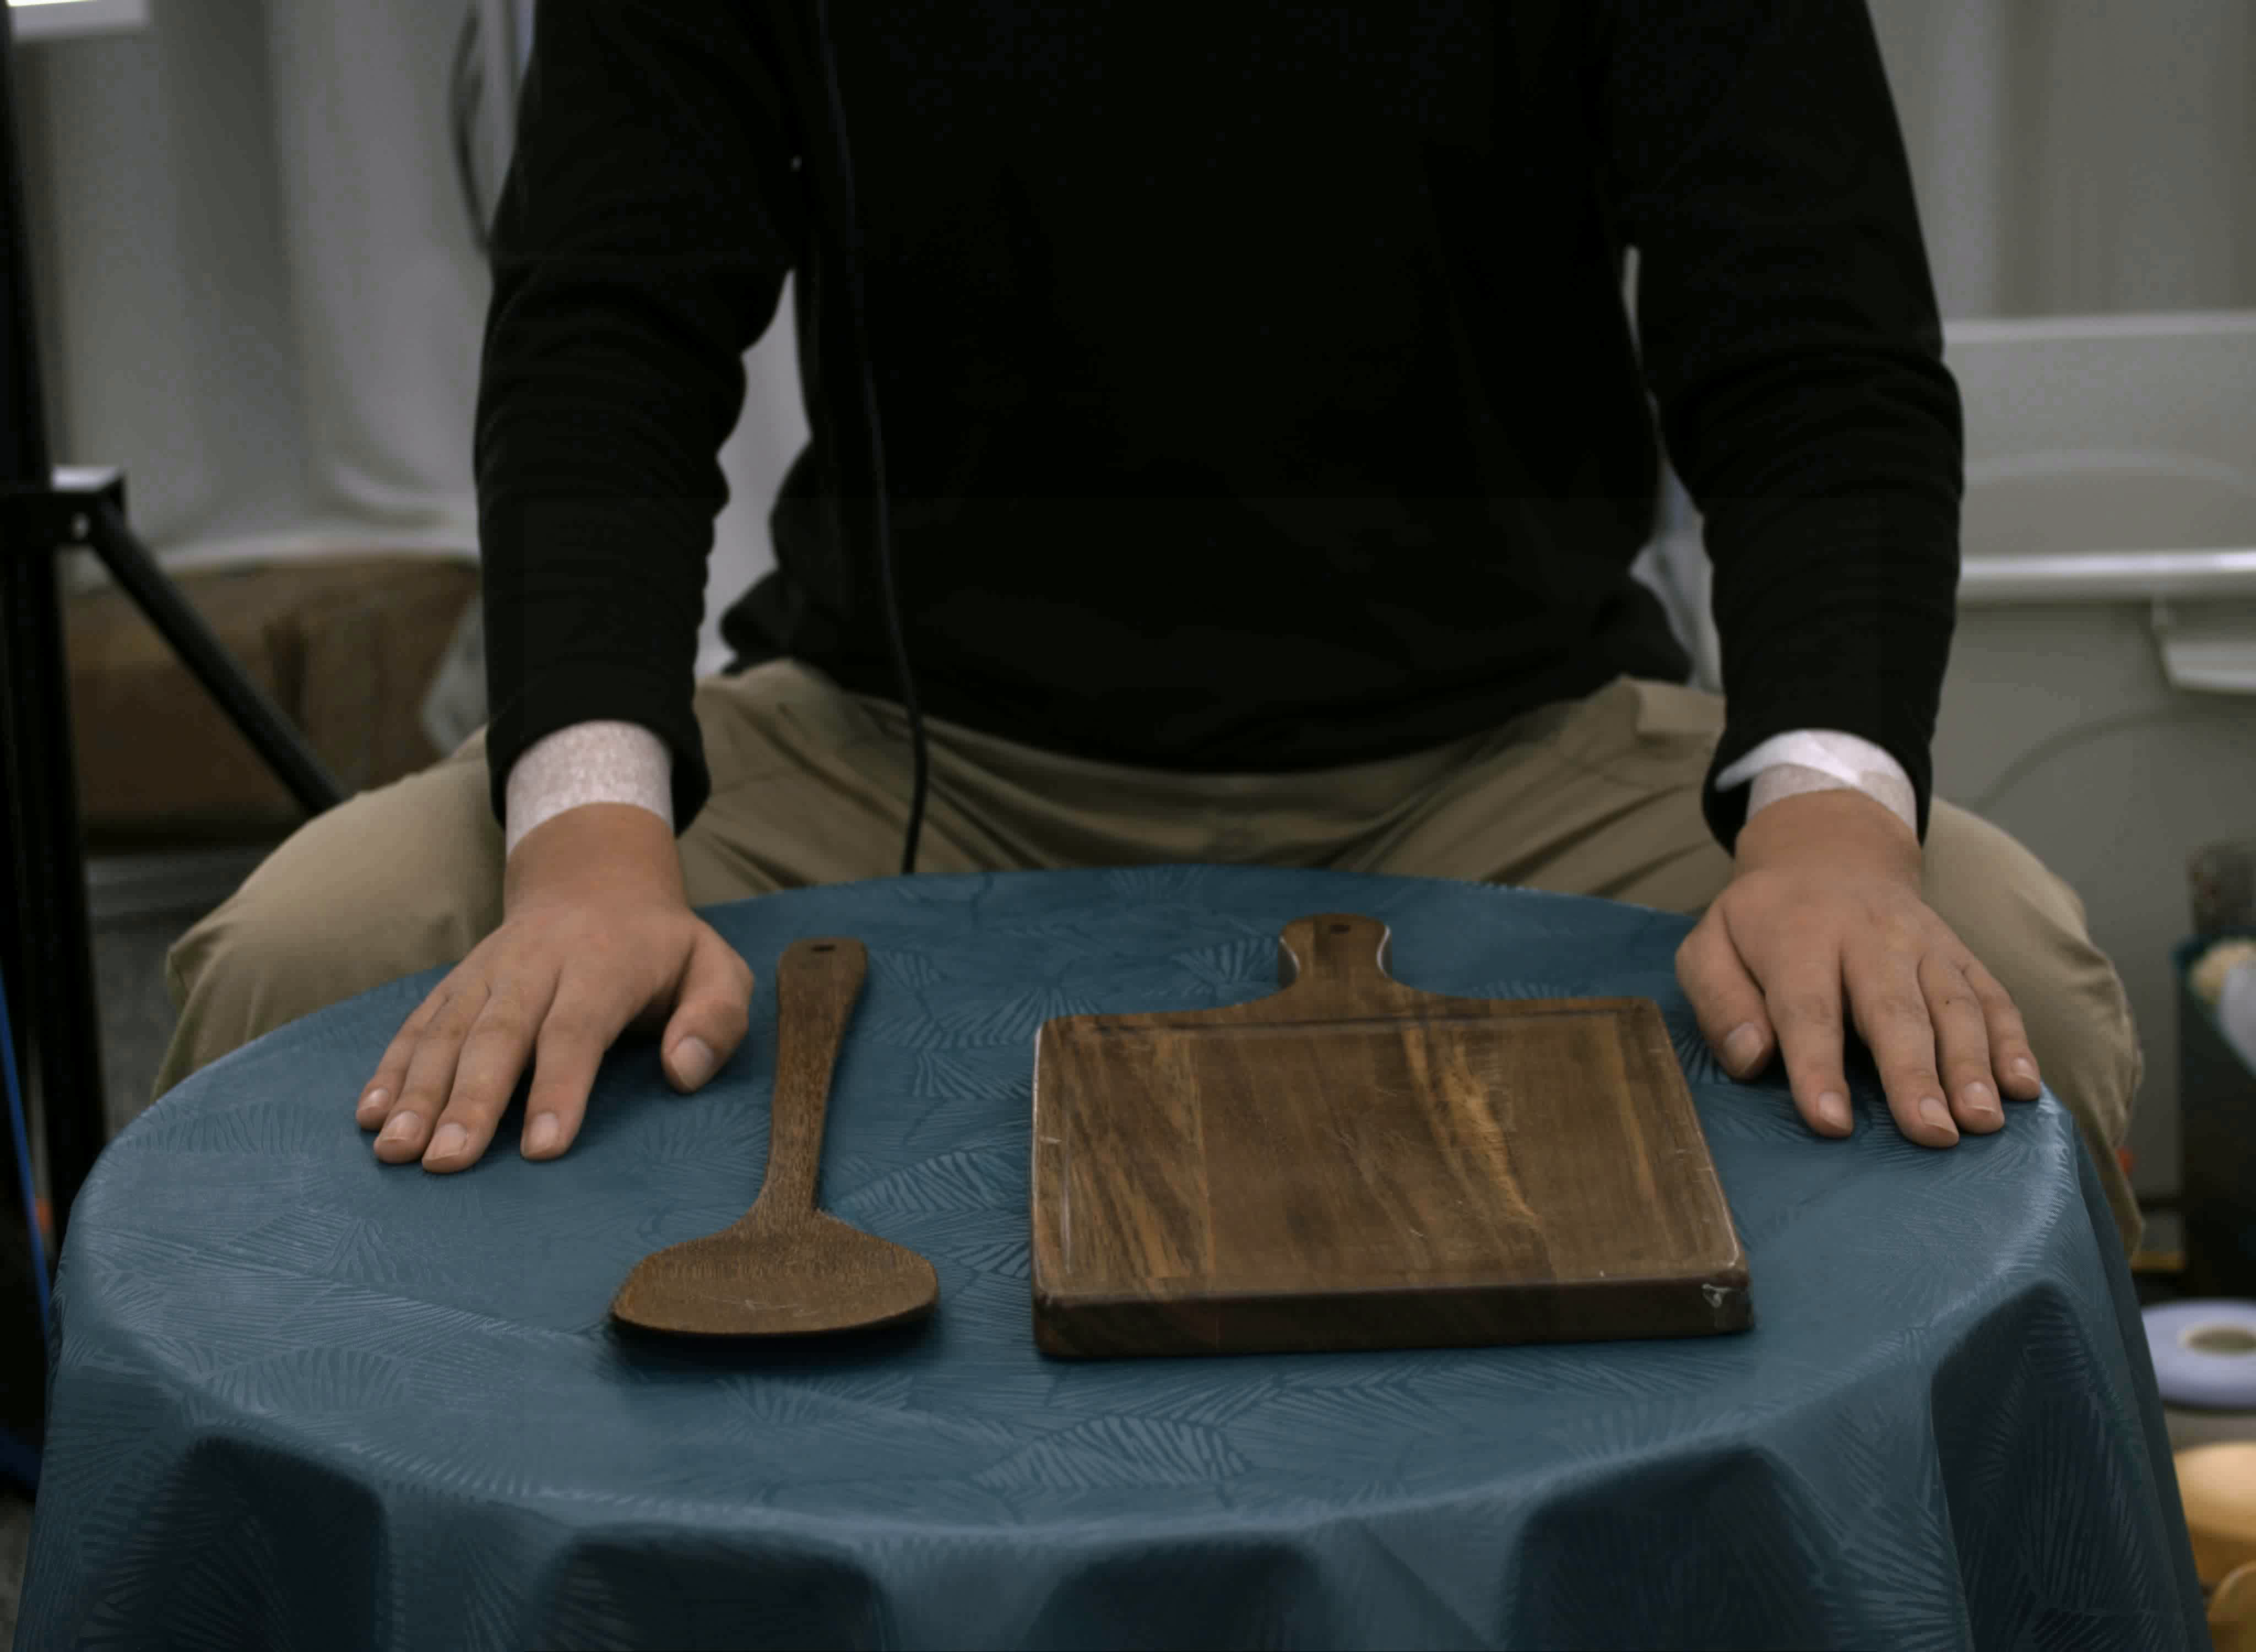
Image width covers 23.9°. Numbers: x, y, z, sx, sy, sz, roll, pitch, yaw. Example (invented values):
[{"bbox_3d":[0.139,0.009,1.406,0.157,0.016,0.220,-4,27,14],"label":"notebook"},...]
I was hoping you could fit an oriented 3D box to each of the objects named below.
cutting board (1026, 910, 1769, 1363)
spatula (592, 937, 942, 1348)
[{"bbox_3d":[0.070,0.085,1.588,0.200,0.023,0.354,-2,16,0],"label":"cutting board"},{"bbox_3d":[-0.101,0.089,1.614,0.095,0.016,0.387,-2,16,0],"label":"spatula"}]
